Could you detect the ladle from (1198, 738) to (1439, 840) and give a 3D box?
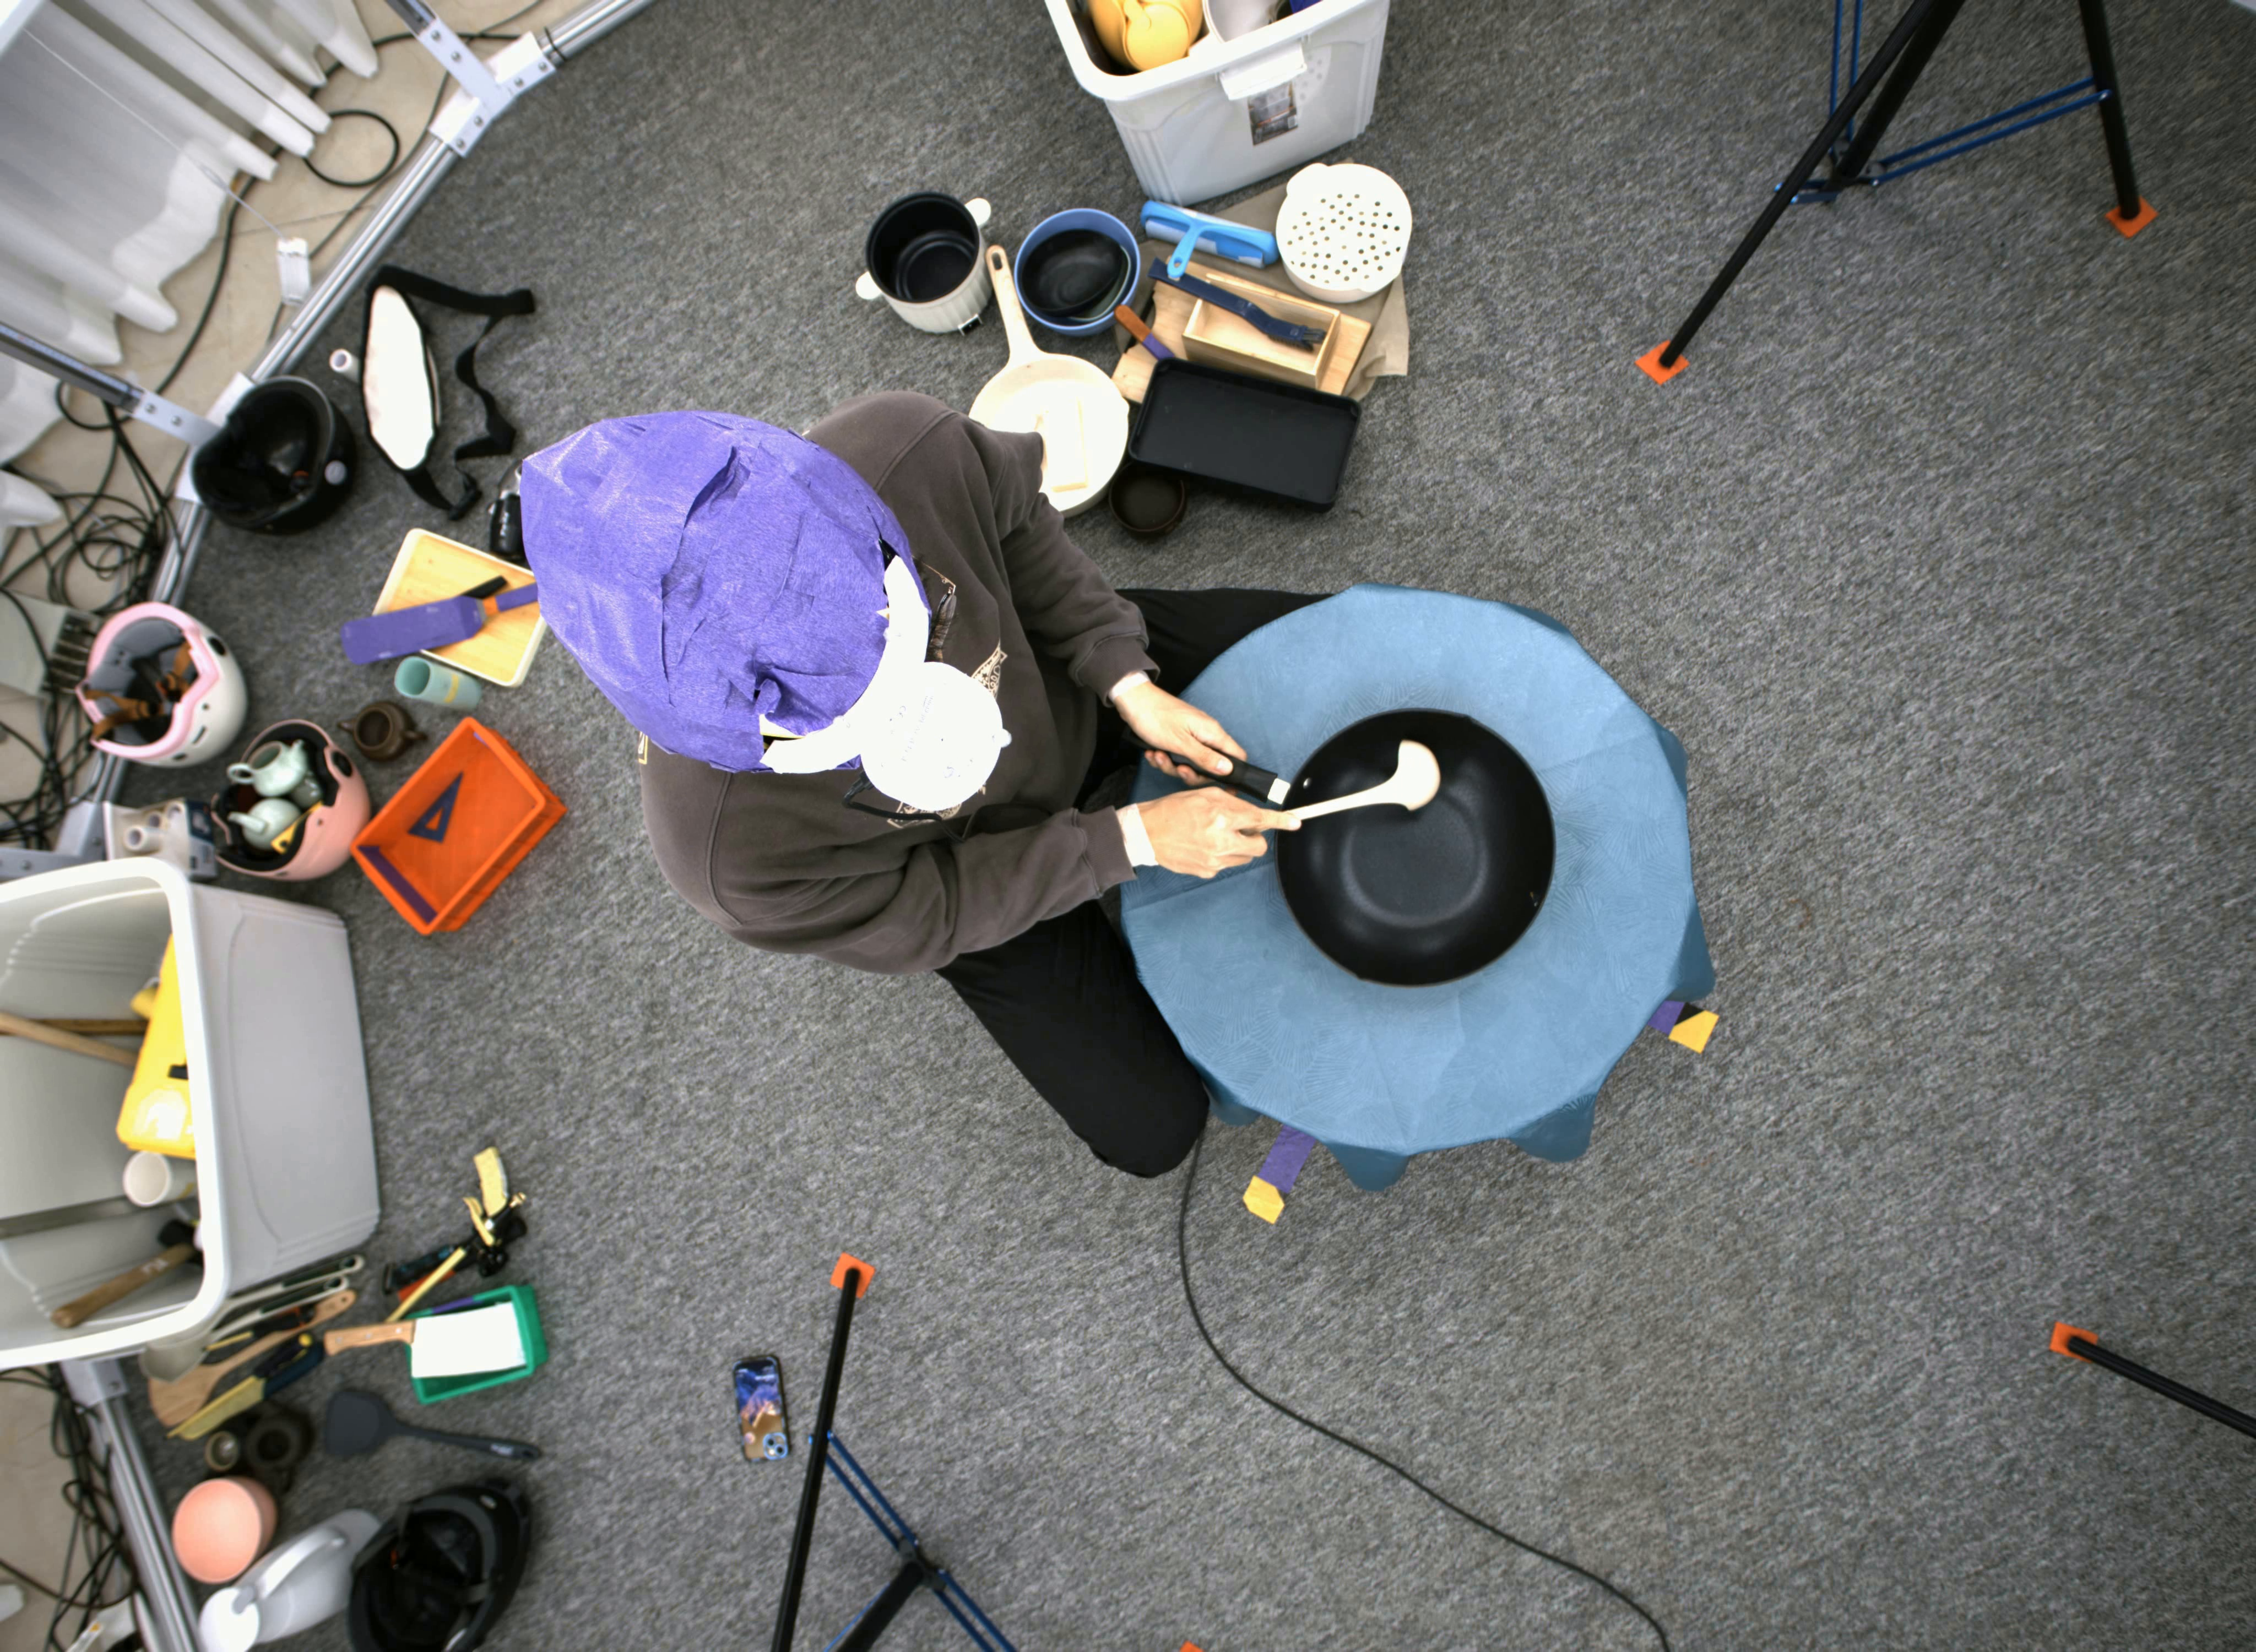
[{"bbox_3d":[0.190,-0.033,1.411,0.255,0.071,0.073,-13,114,0],"label":"ladle"}]

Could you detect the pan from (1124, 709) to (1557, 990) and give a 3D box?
[{"bbox_3d":[0.210,-0.011,1.432,0.463,0.087,0.288,24,92,14],"label":"pan"}]
